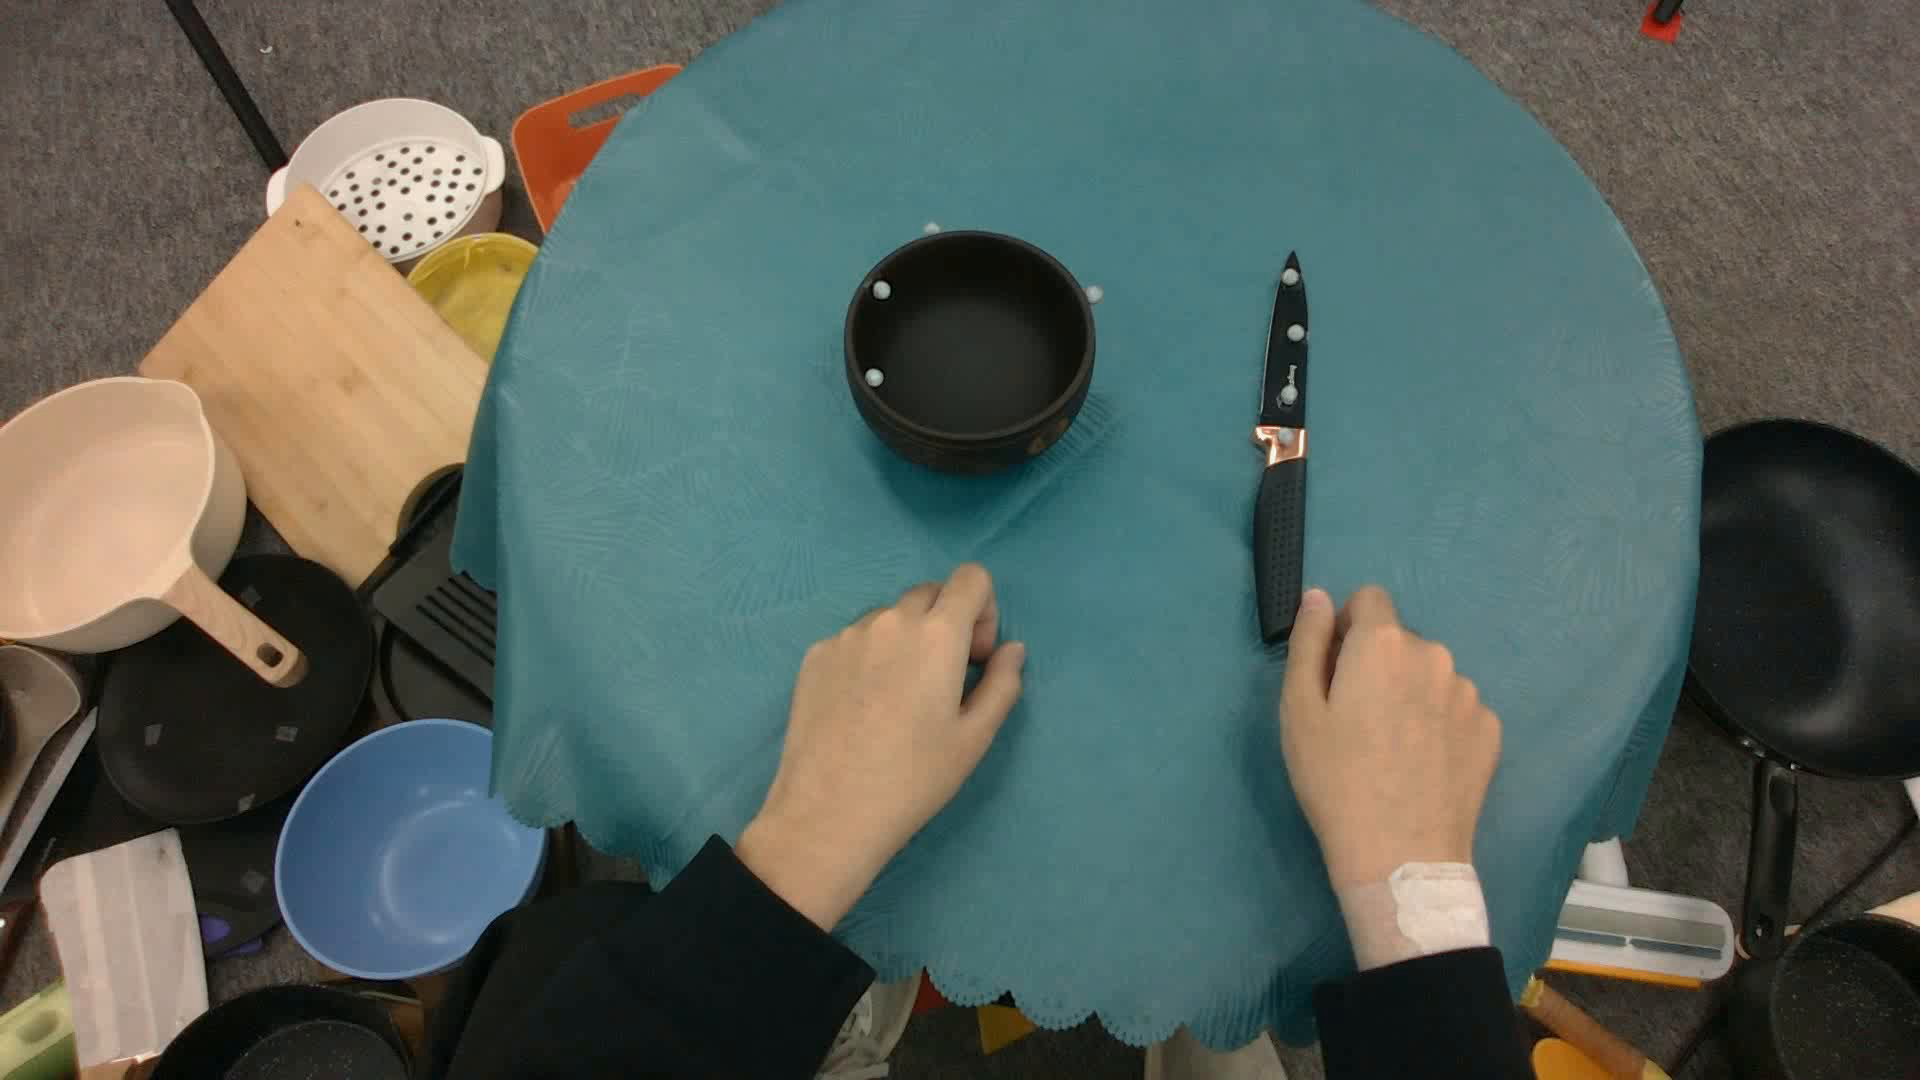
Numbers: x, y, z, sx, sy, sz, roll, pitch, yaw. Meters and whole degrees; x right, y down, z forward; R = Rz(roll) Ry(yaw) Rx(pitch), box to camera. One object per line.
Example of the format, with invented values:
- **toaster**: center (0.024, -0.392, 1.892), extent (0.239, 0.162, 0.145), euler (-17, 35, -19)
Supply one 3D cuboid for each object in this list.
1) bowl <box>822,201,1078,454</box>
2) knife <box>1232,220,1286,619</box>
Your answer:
- **bowl**: center (-0.004, -0.093, 0.652), extent (0.118, 0.069, 0.118), euler (0, 68, 0)
- **knife**: center (0.147, -0.066, 0.679), extent (0.026, 0.017, 0.226), euler (3, 65, 7)
